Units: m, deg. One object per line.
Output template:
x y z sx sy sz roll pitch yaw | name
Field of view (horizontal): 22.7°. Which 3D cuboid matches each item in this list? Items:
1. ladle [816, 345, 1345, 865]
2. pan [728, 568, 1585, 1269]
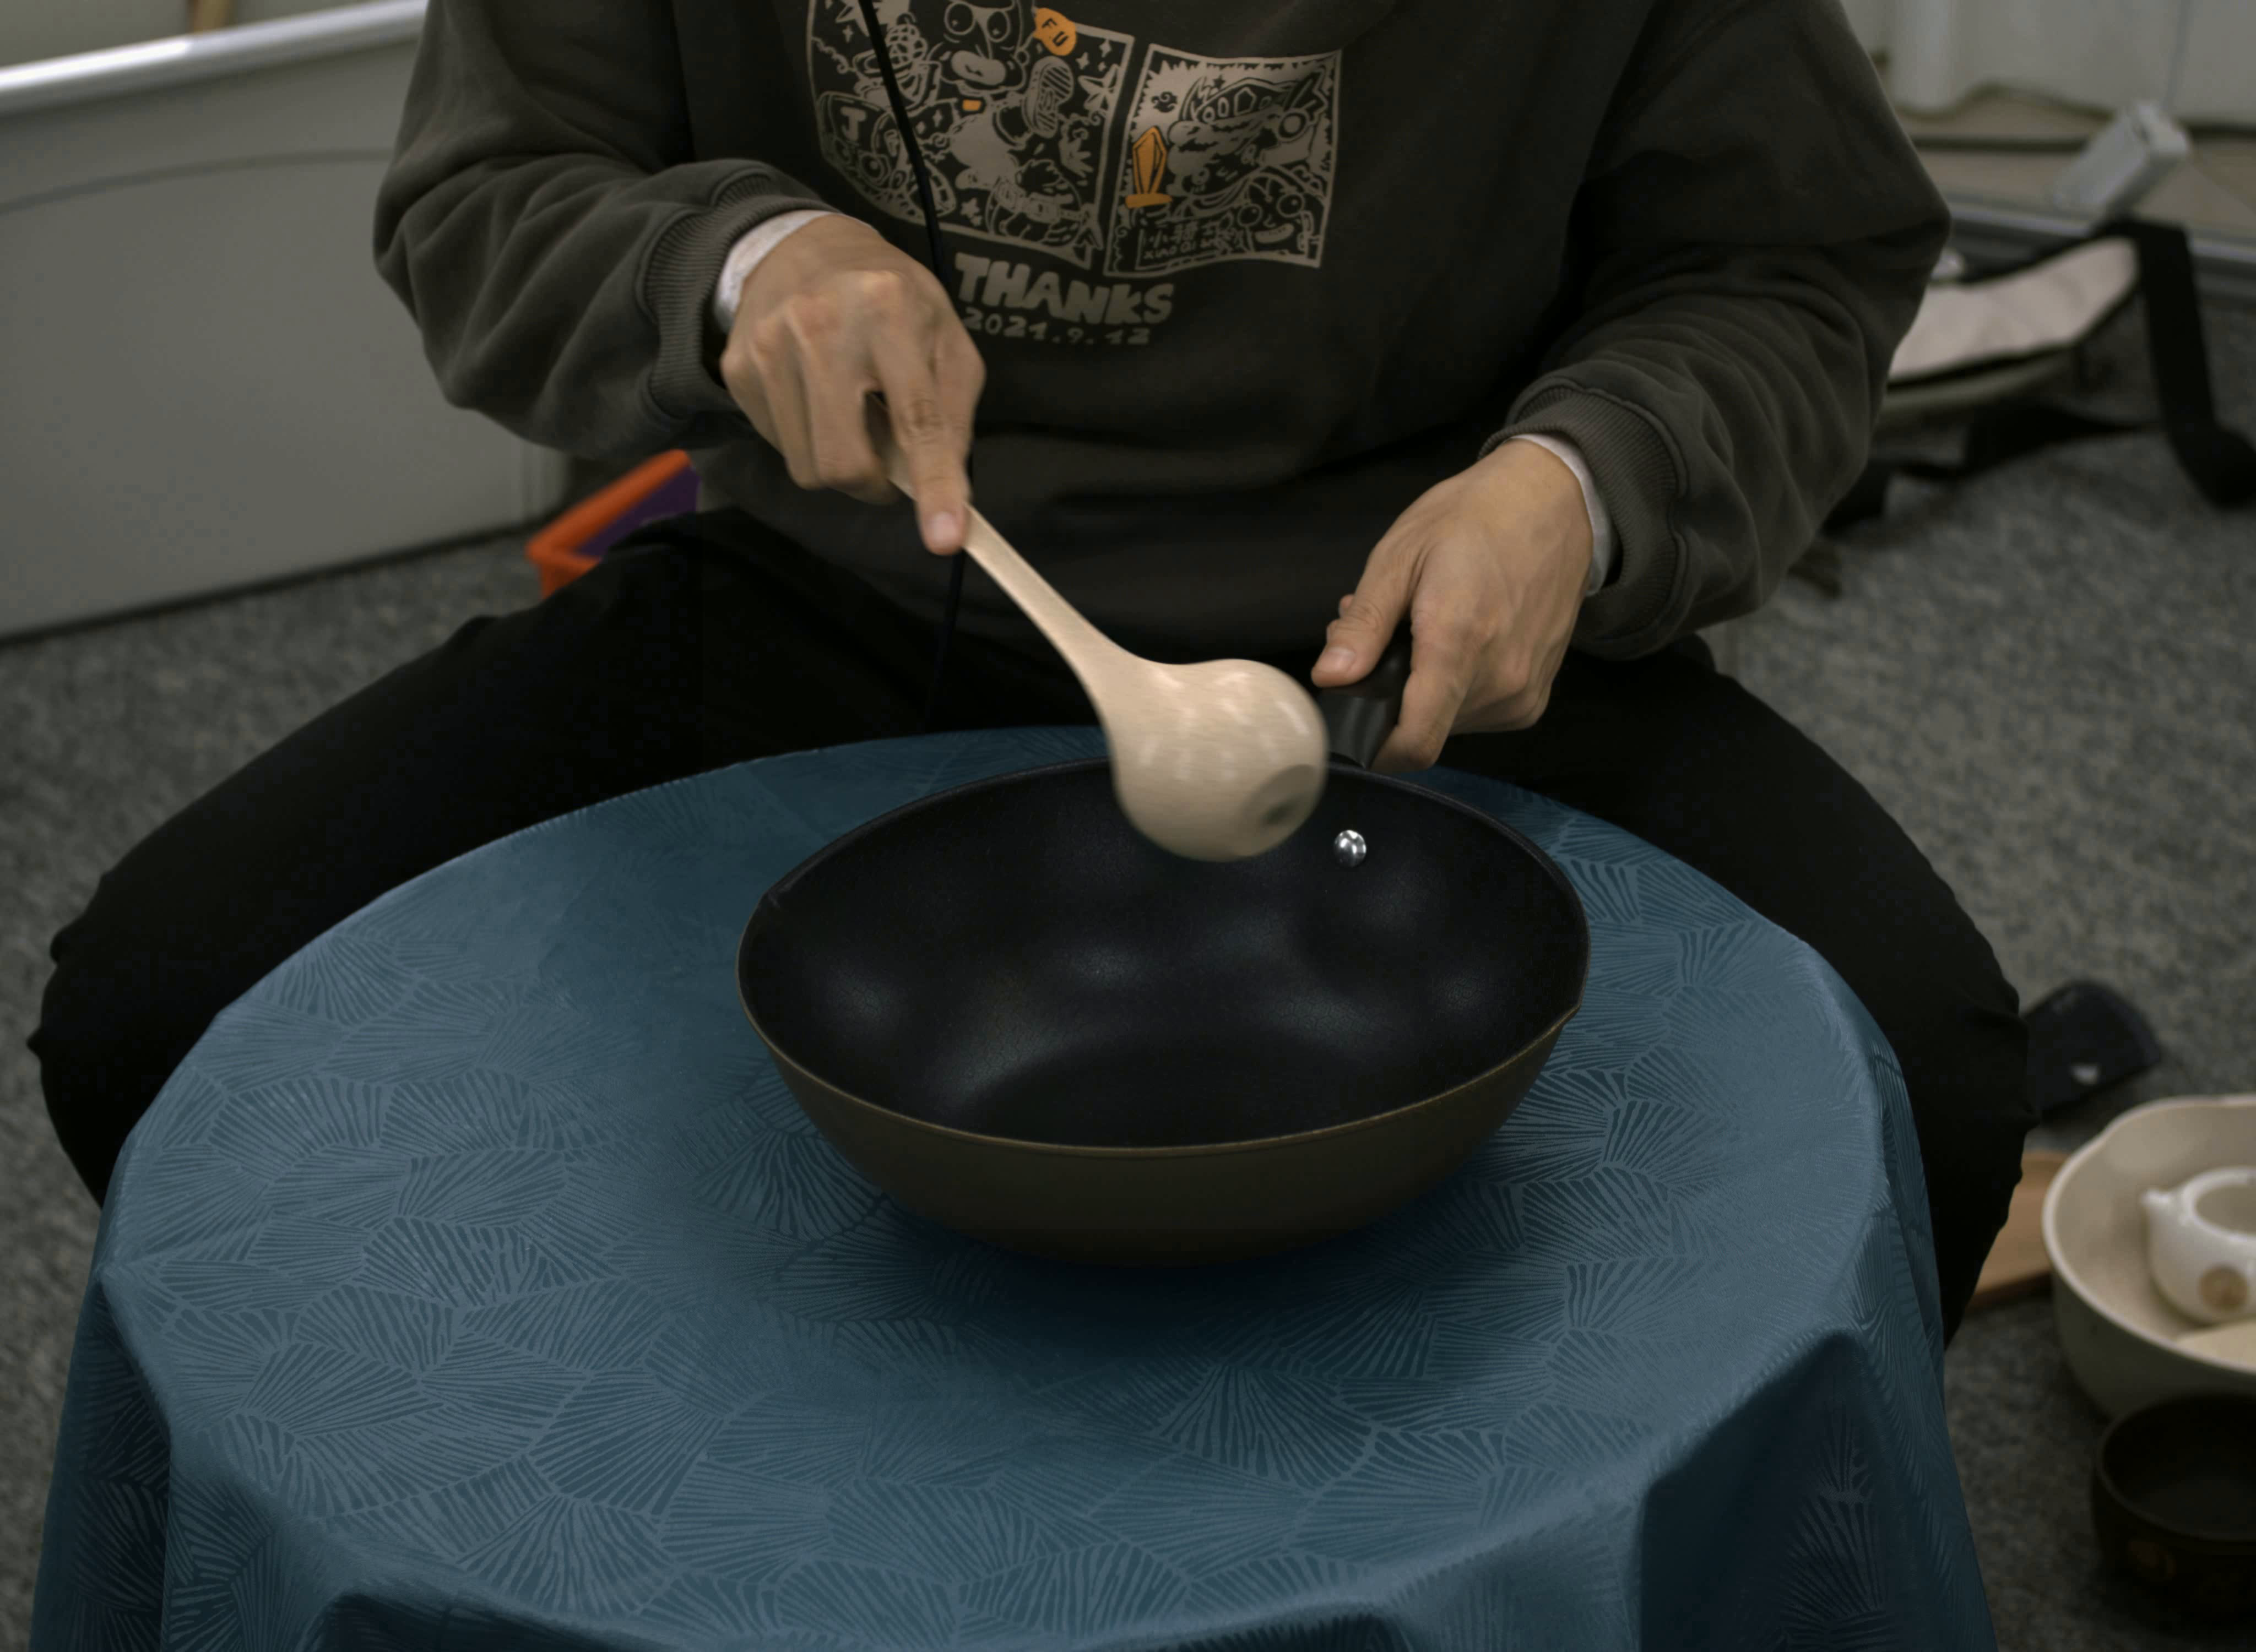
-0.018 -0.081 1.945 0.256 0.072 0.072 47 13 35 | ladle
0.044 0.033 1.940 0.286 0.086 0.471 8 28 20 | pan
